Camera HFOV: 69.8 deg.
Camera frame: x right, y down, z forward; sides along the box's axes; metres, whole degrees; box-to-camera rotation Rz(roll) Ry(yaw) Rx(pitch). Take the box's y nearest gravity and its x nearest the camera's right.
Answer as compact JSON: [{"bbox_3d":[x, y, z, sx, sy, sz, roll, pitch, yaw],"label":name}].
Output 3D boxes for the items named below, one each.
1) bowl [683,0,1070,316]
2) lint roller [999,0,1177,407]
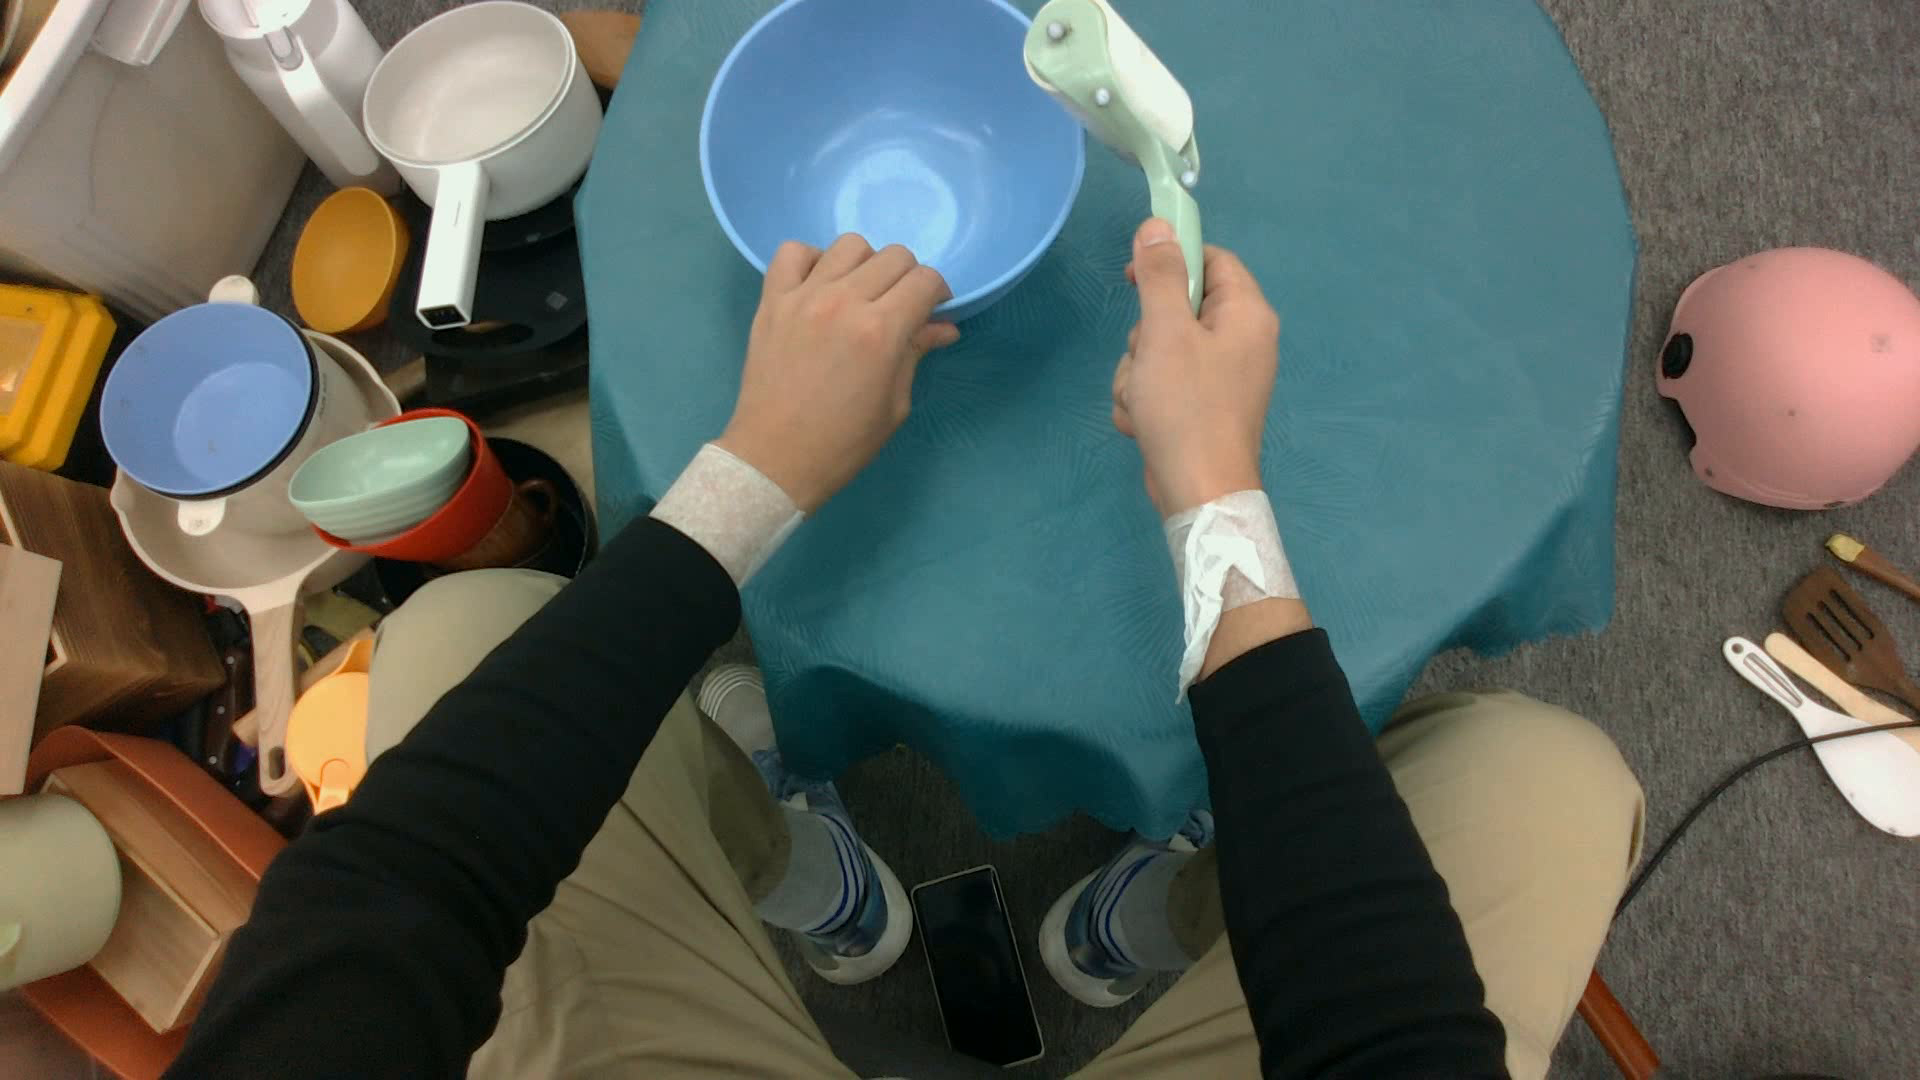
[{"bbox_3d":[-0.043,-0.201,0.742,0.196,0.095,0.197,0,74,-2],"label":"bowl"},{"bbox_3d":[0.076,-0.161,0.654,0.048,0.117,0.198,-19,73,27],"label":"lint roller"}]
